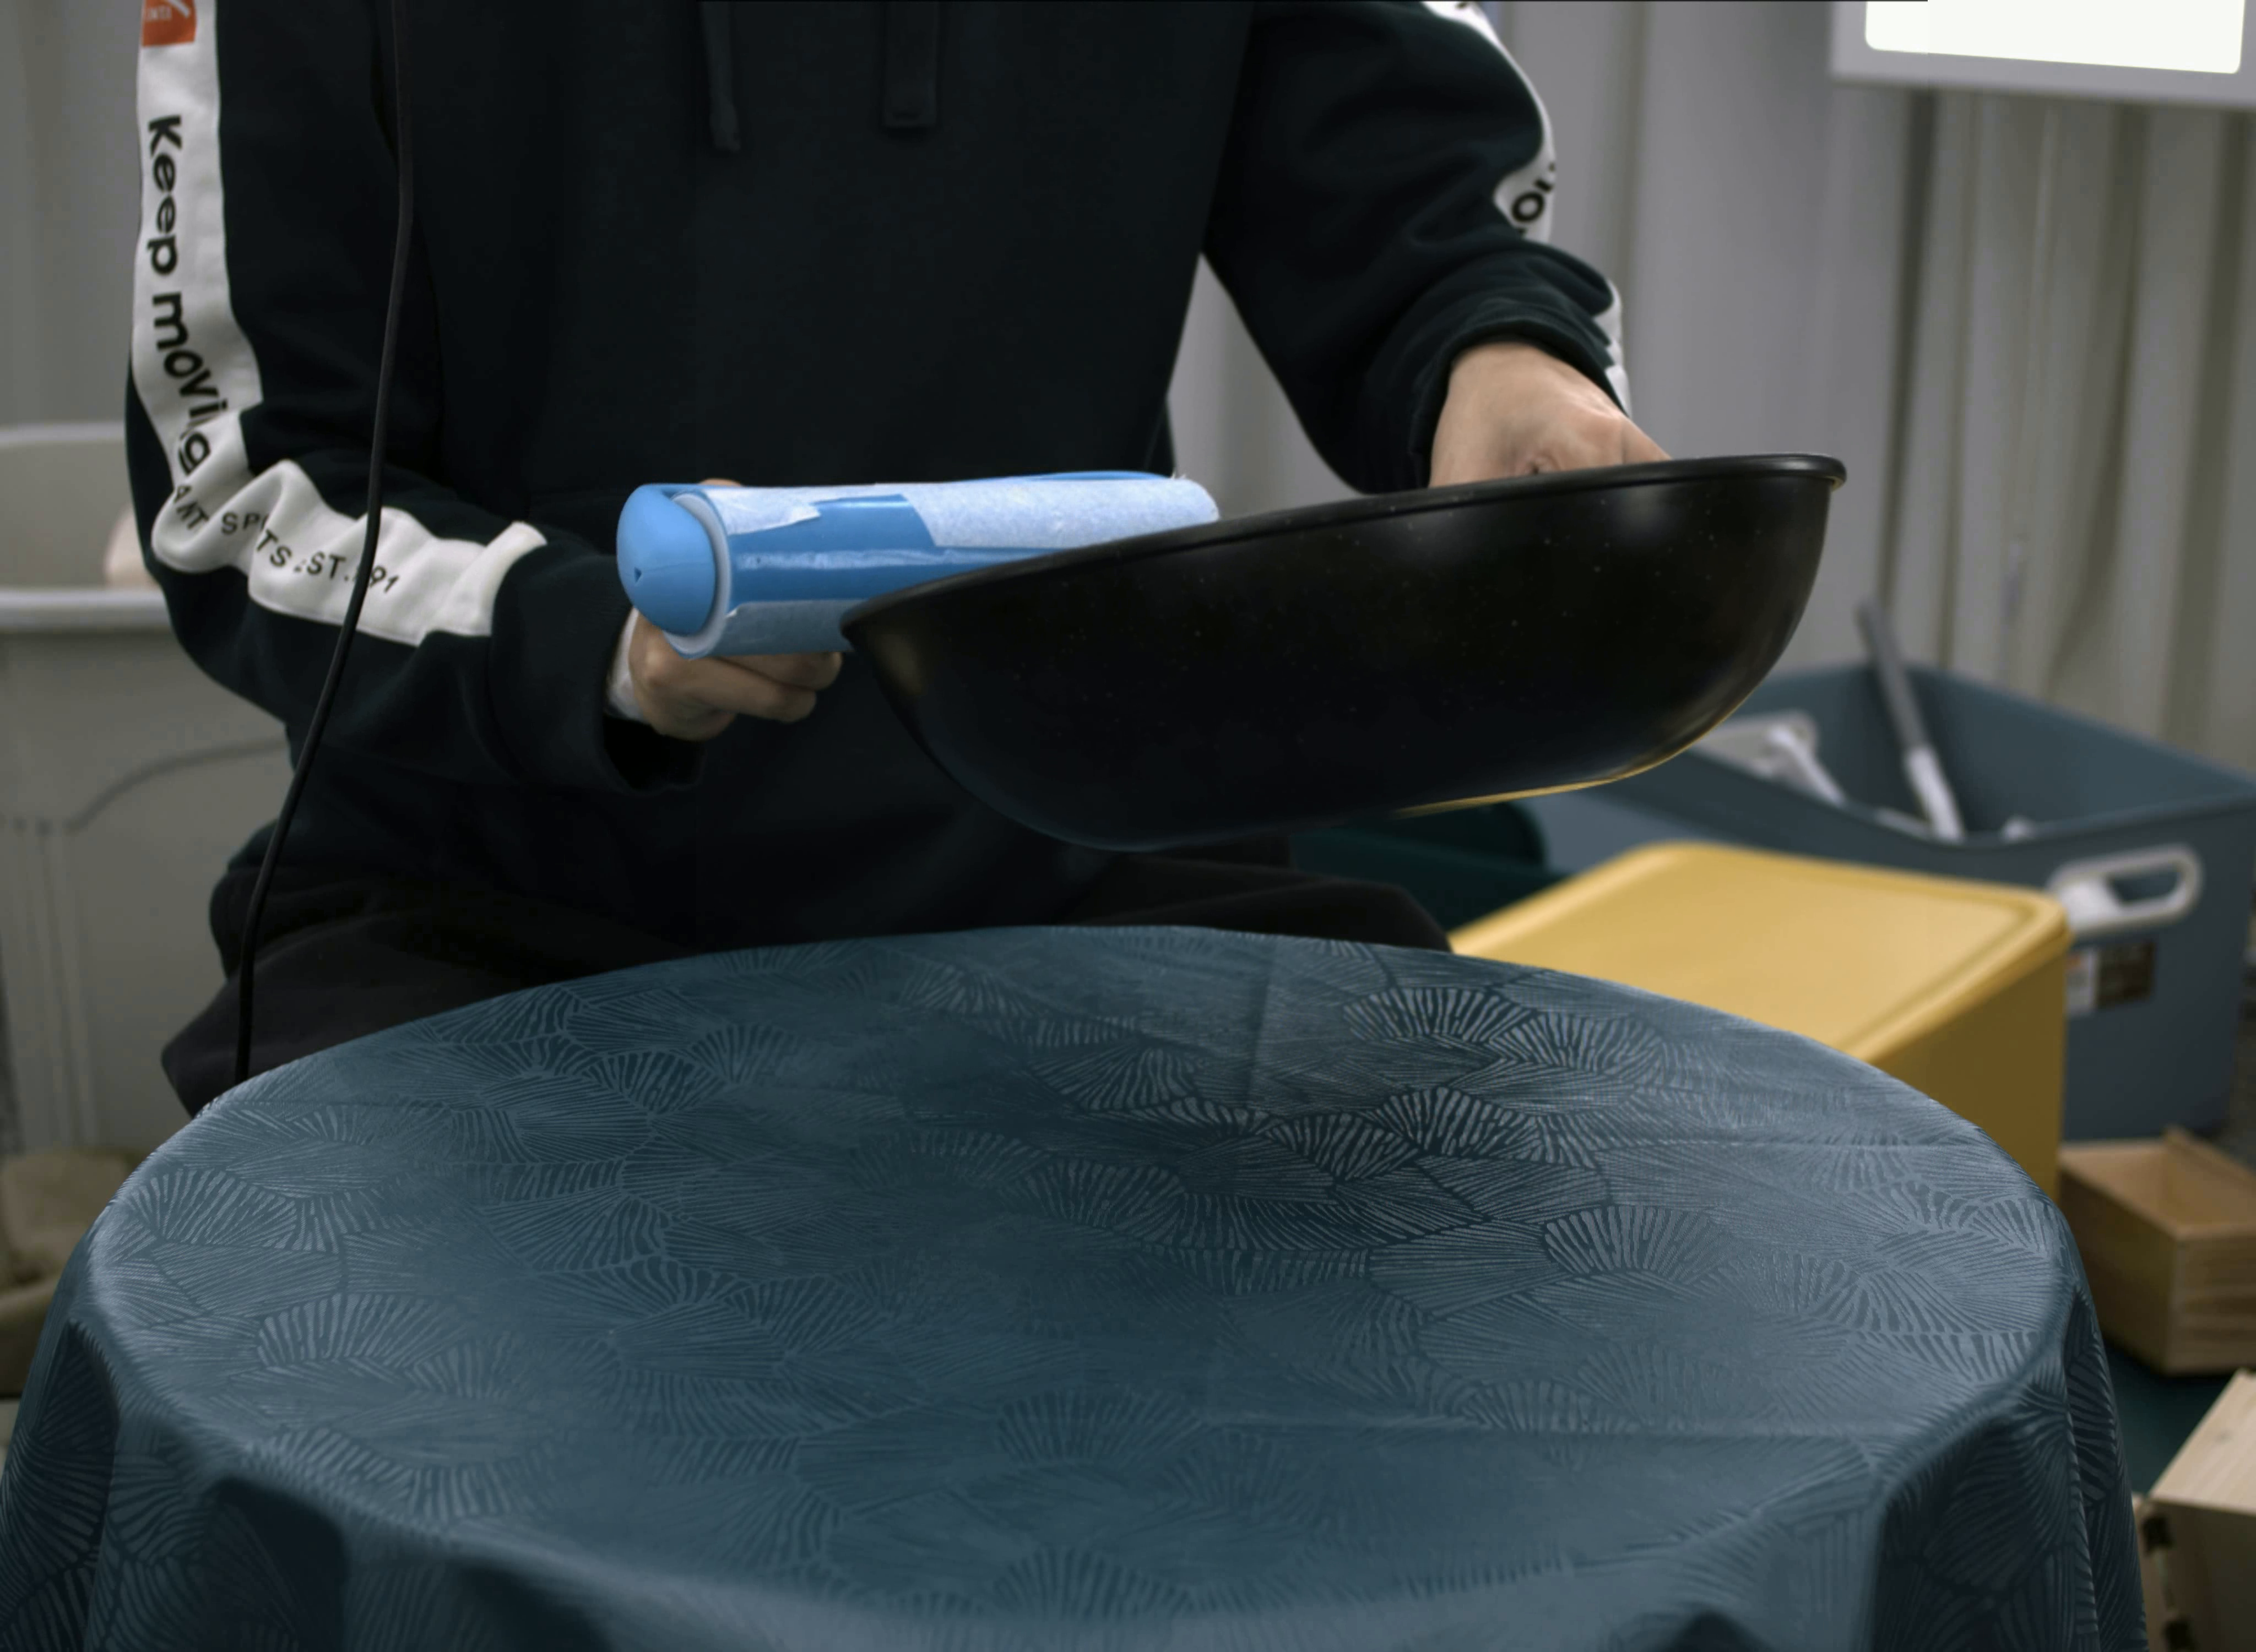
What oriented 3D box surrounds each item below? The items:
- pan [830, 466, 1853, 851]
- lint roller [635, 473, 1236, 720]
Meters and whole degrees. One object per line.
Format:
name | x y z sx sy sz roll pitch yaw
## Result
pan | 0.096 -0.057 1.665 0.308 0.112 0.479 -7 -1 20
lint roller | -0.091 -0.080 1.762 0.230 0.068 0.178 -6 -3 -38
